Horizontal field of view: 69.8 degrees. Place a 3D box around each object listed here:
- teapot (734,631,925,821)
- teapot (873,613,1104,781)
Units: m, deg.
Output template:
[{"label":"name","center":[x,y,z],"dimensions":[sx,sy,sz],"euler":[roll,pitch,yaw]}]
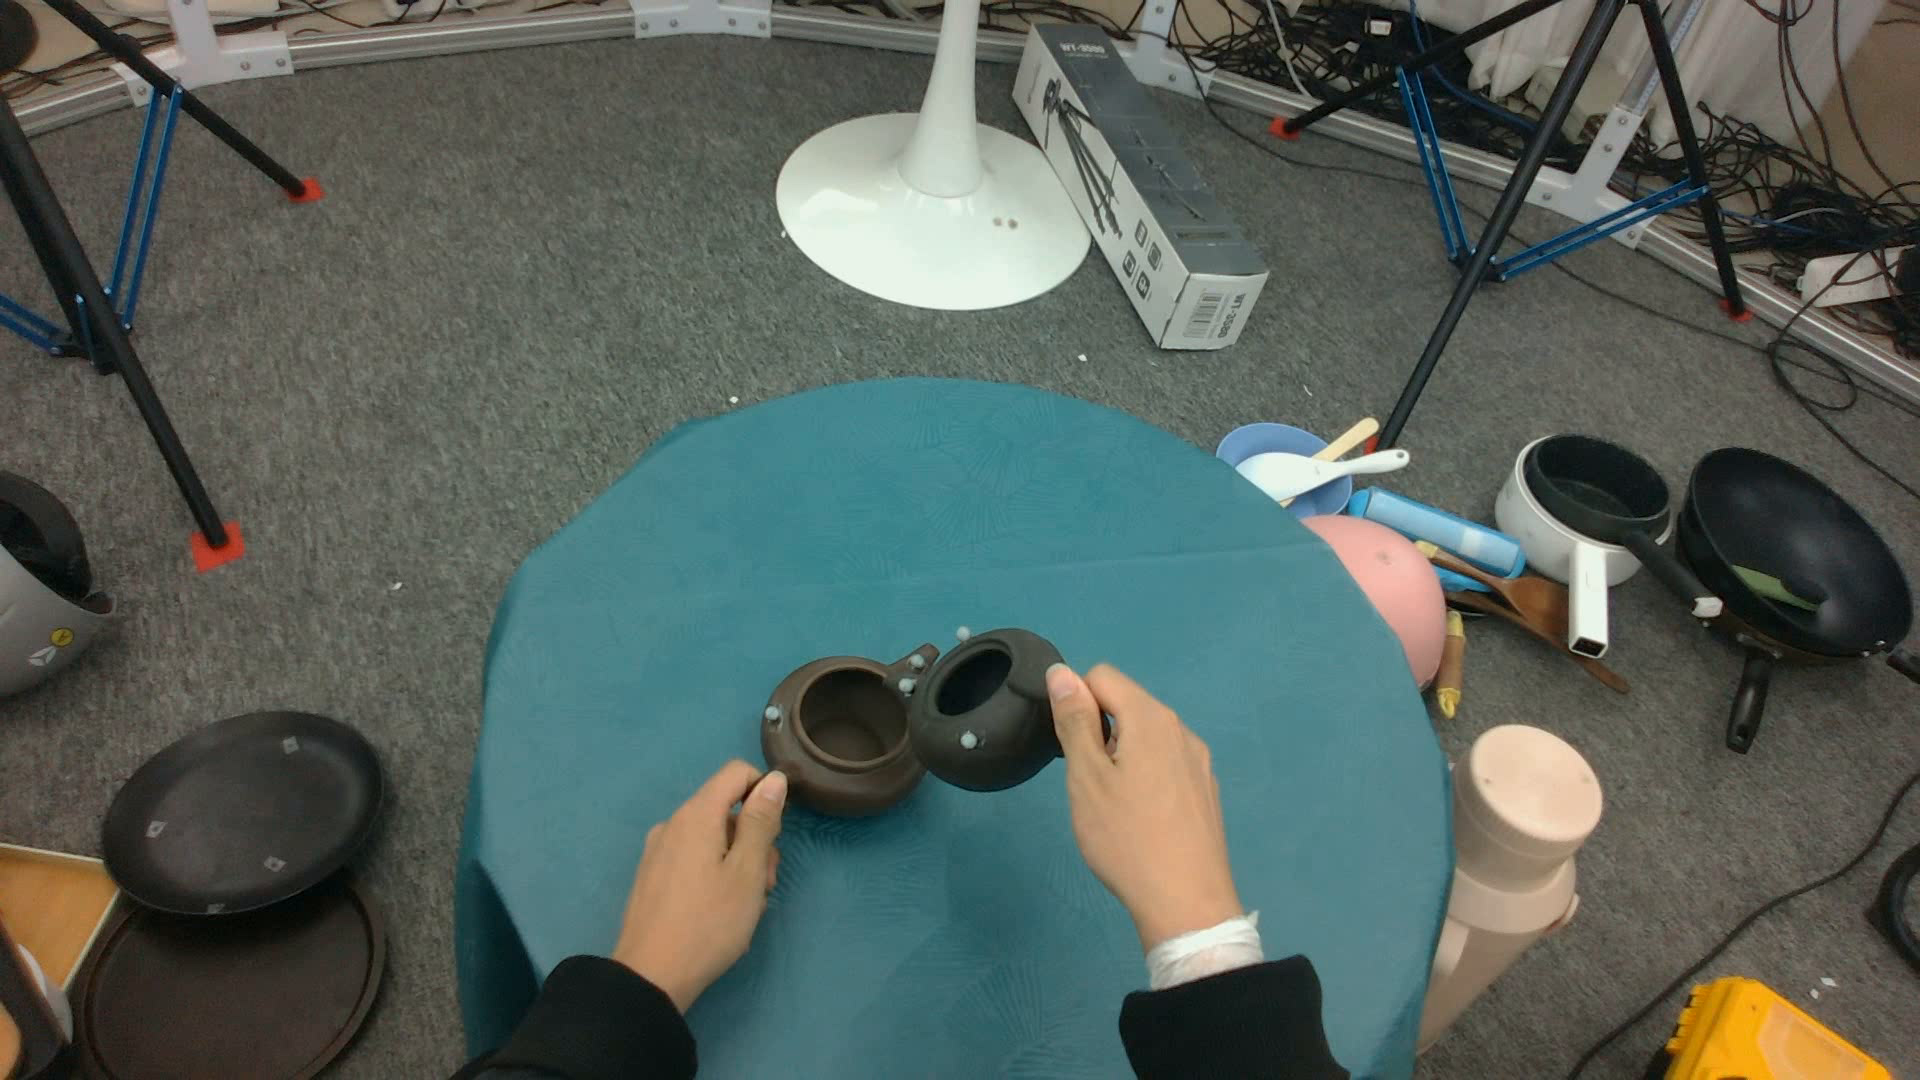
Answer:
[{"label":"teapot","center":[-0.074,0.110,0.799],"dimensions":[0.102,0.053,0.154],"euler":[33,48,16]},{"label":"teapot","center":[0.015,0.082,0.718],"dimensions":[0.154,0.064,0.093],"euler":[-1,46,47]}]
